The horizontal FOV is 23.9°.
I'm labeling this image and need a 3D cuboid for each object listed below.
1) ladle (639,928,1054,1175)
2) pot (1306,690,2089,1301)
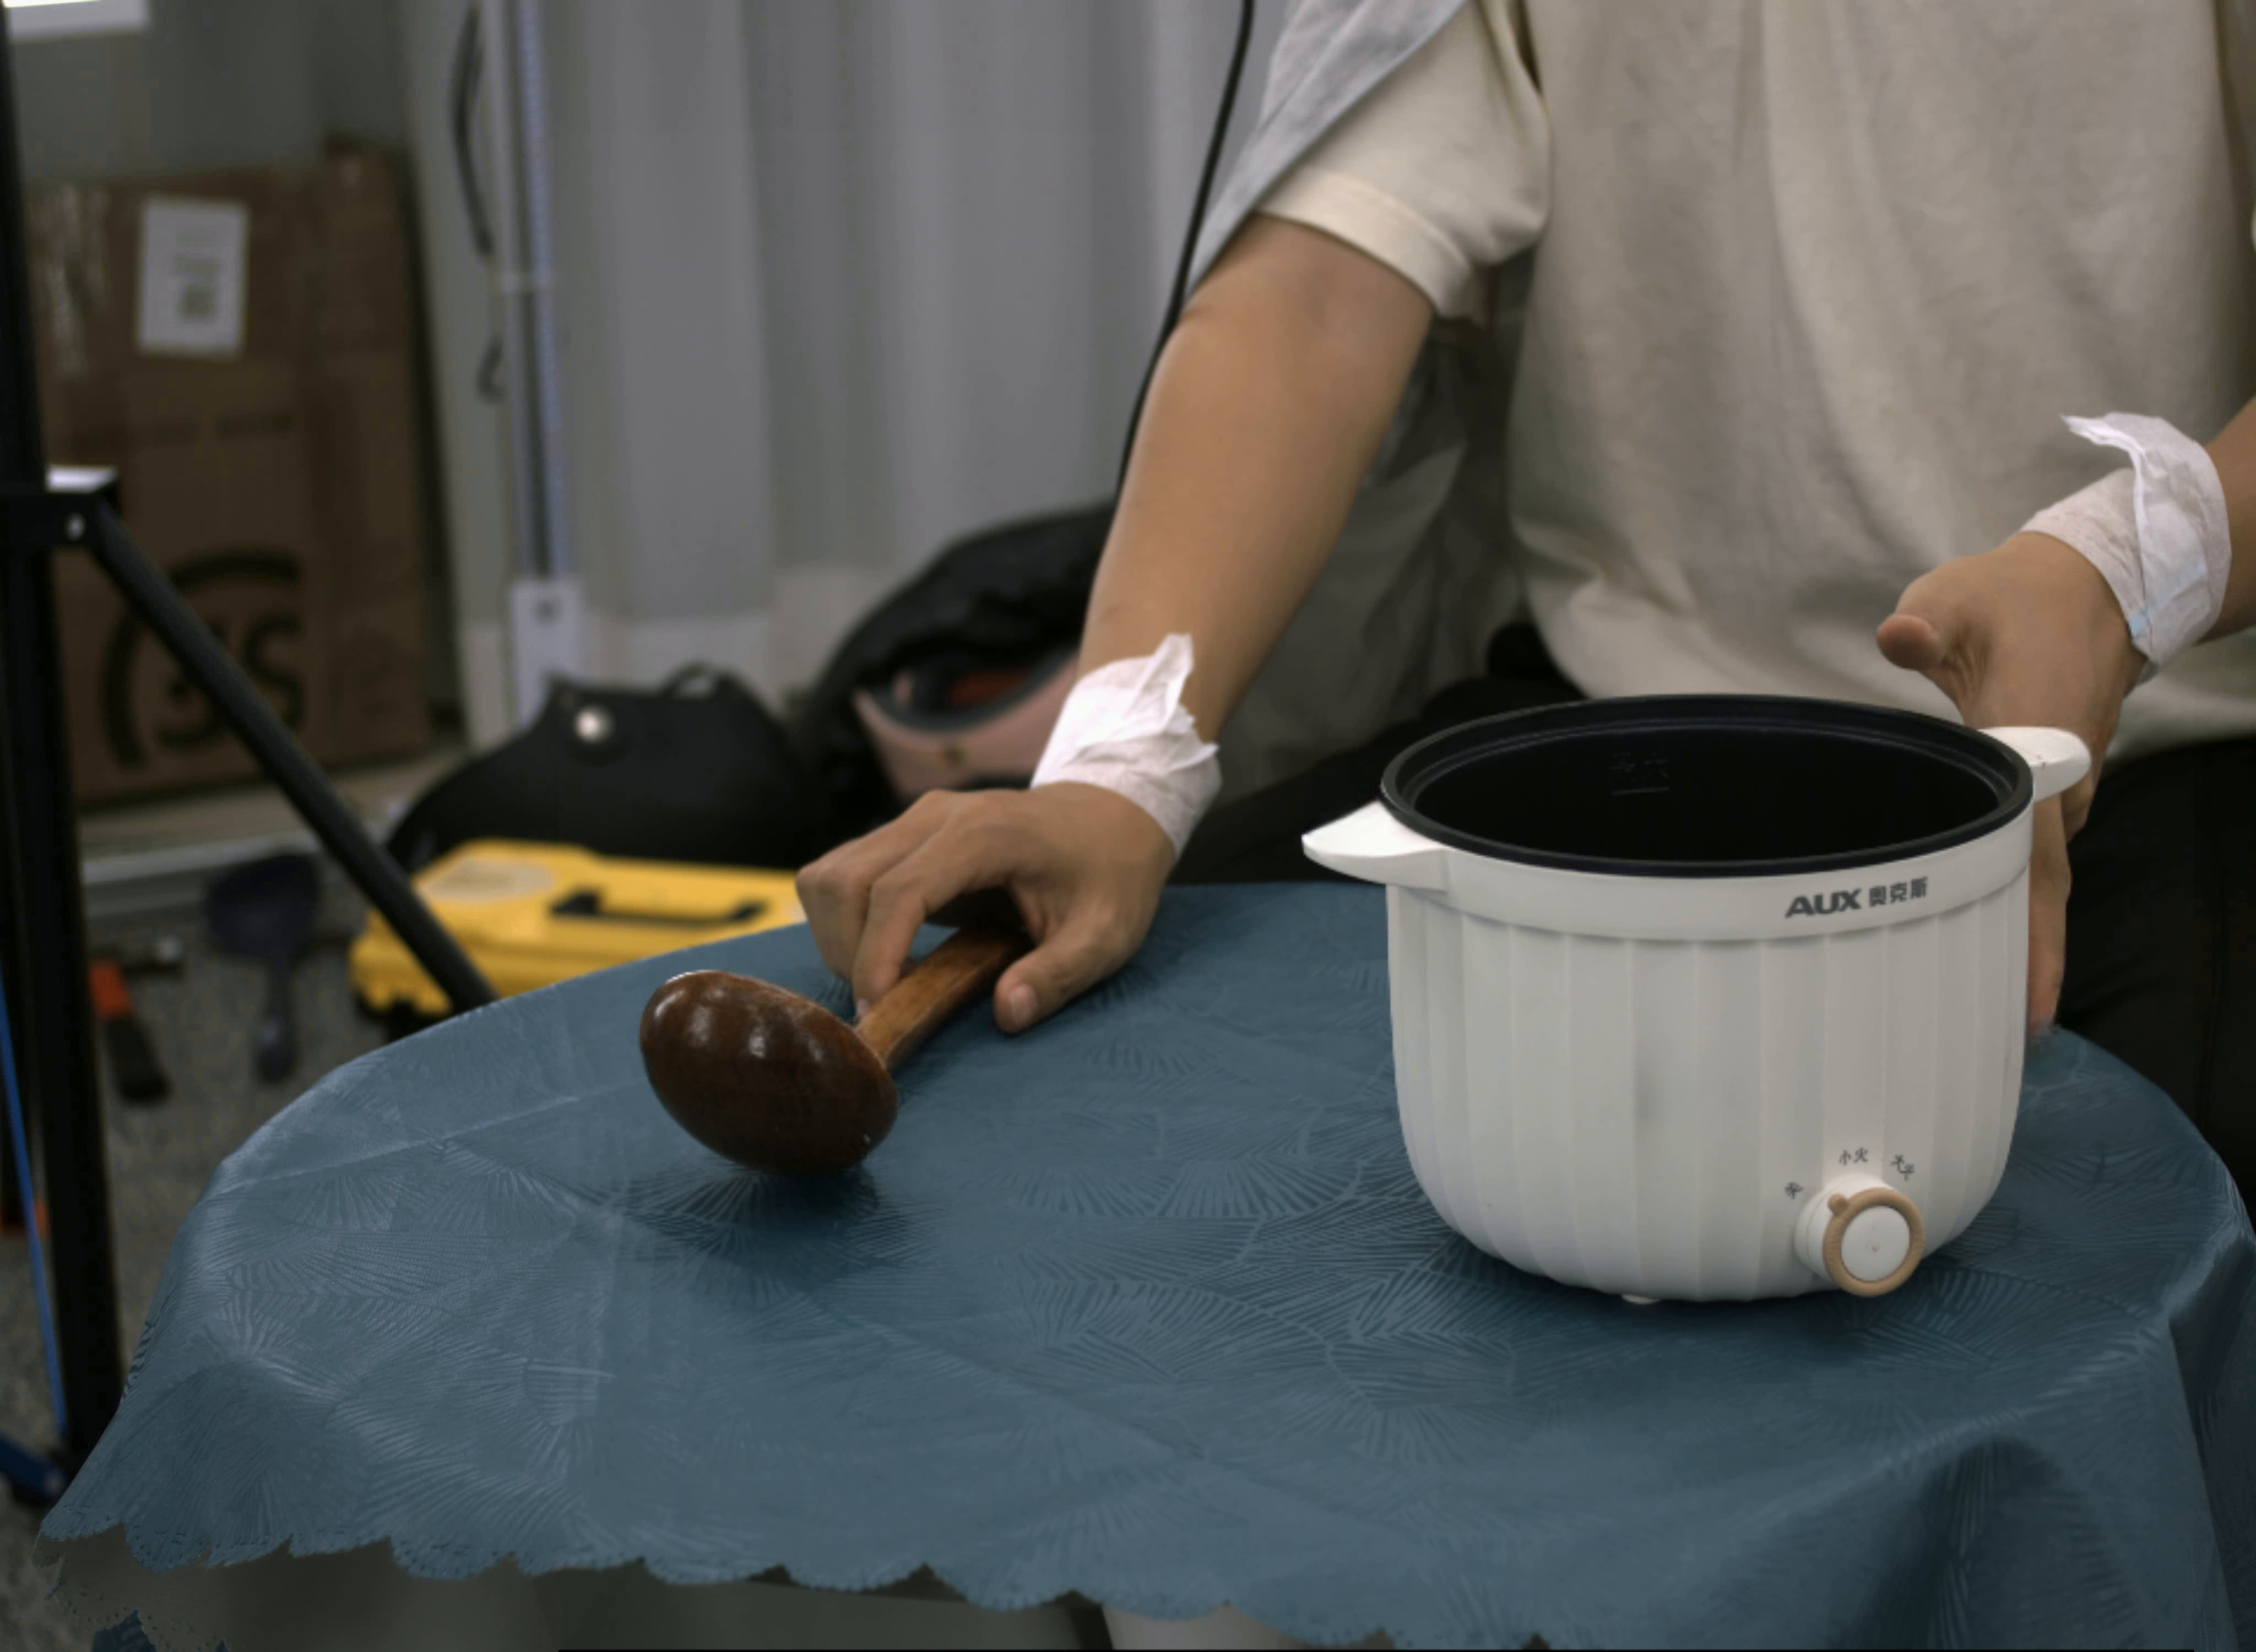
[{"bbox_3d":[-0.072,0.045,1.649,0.082,0.077,0.271,25,22,12],"label":"ladle"},{"bbox_3d":[0.166,0.050,1.478,0.236,0.143,0.194,-9,13,-18],"label":"pot"}]
